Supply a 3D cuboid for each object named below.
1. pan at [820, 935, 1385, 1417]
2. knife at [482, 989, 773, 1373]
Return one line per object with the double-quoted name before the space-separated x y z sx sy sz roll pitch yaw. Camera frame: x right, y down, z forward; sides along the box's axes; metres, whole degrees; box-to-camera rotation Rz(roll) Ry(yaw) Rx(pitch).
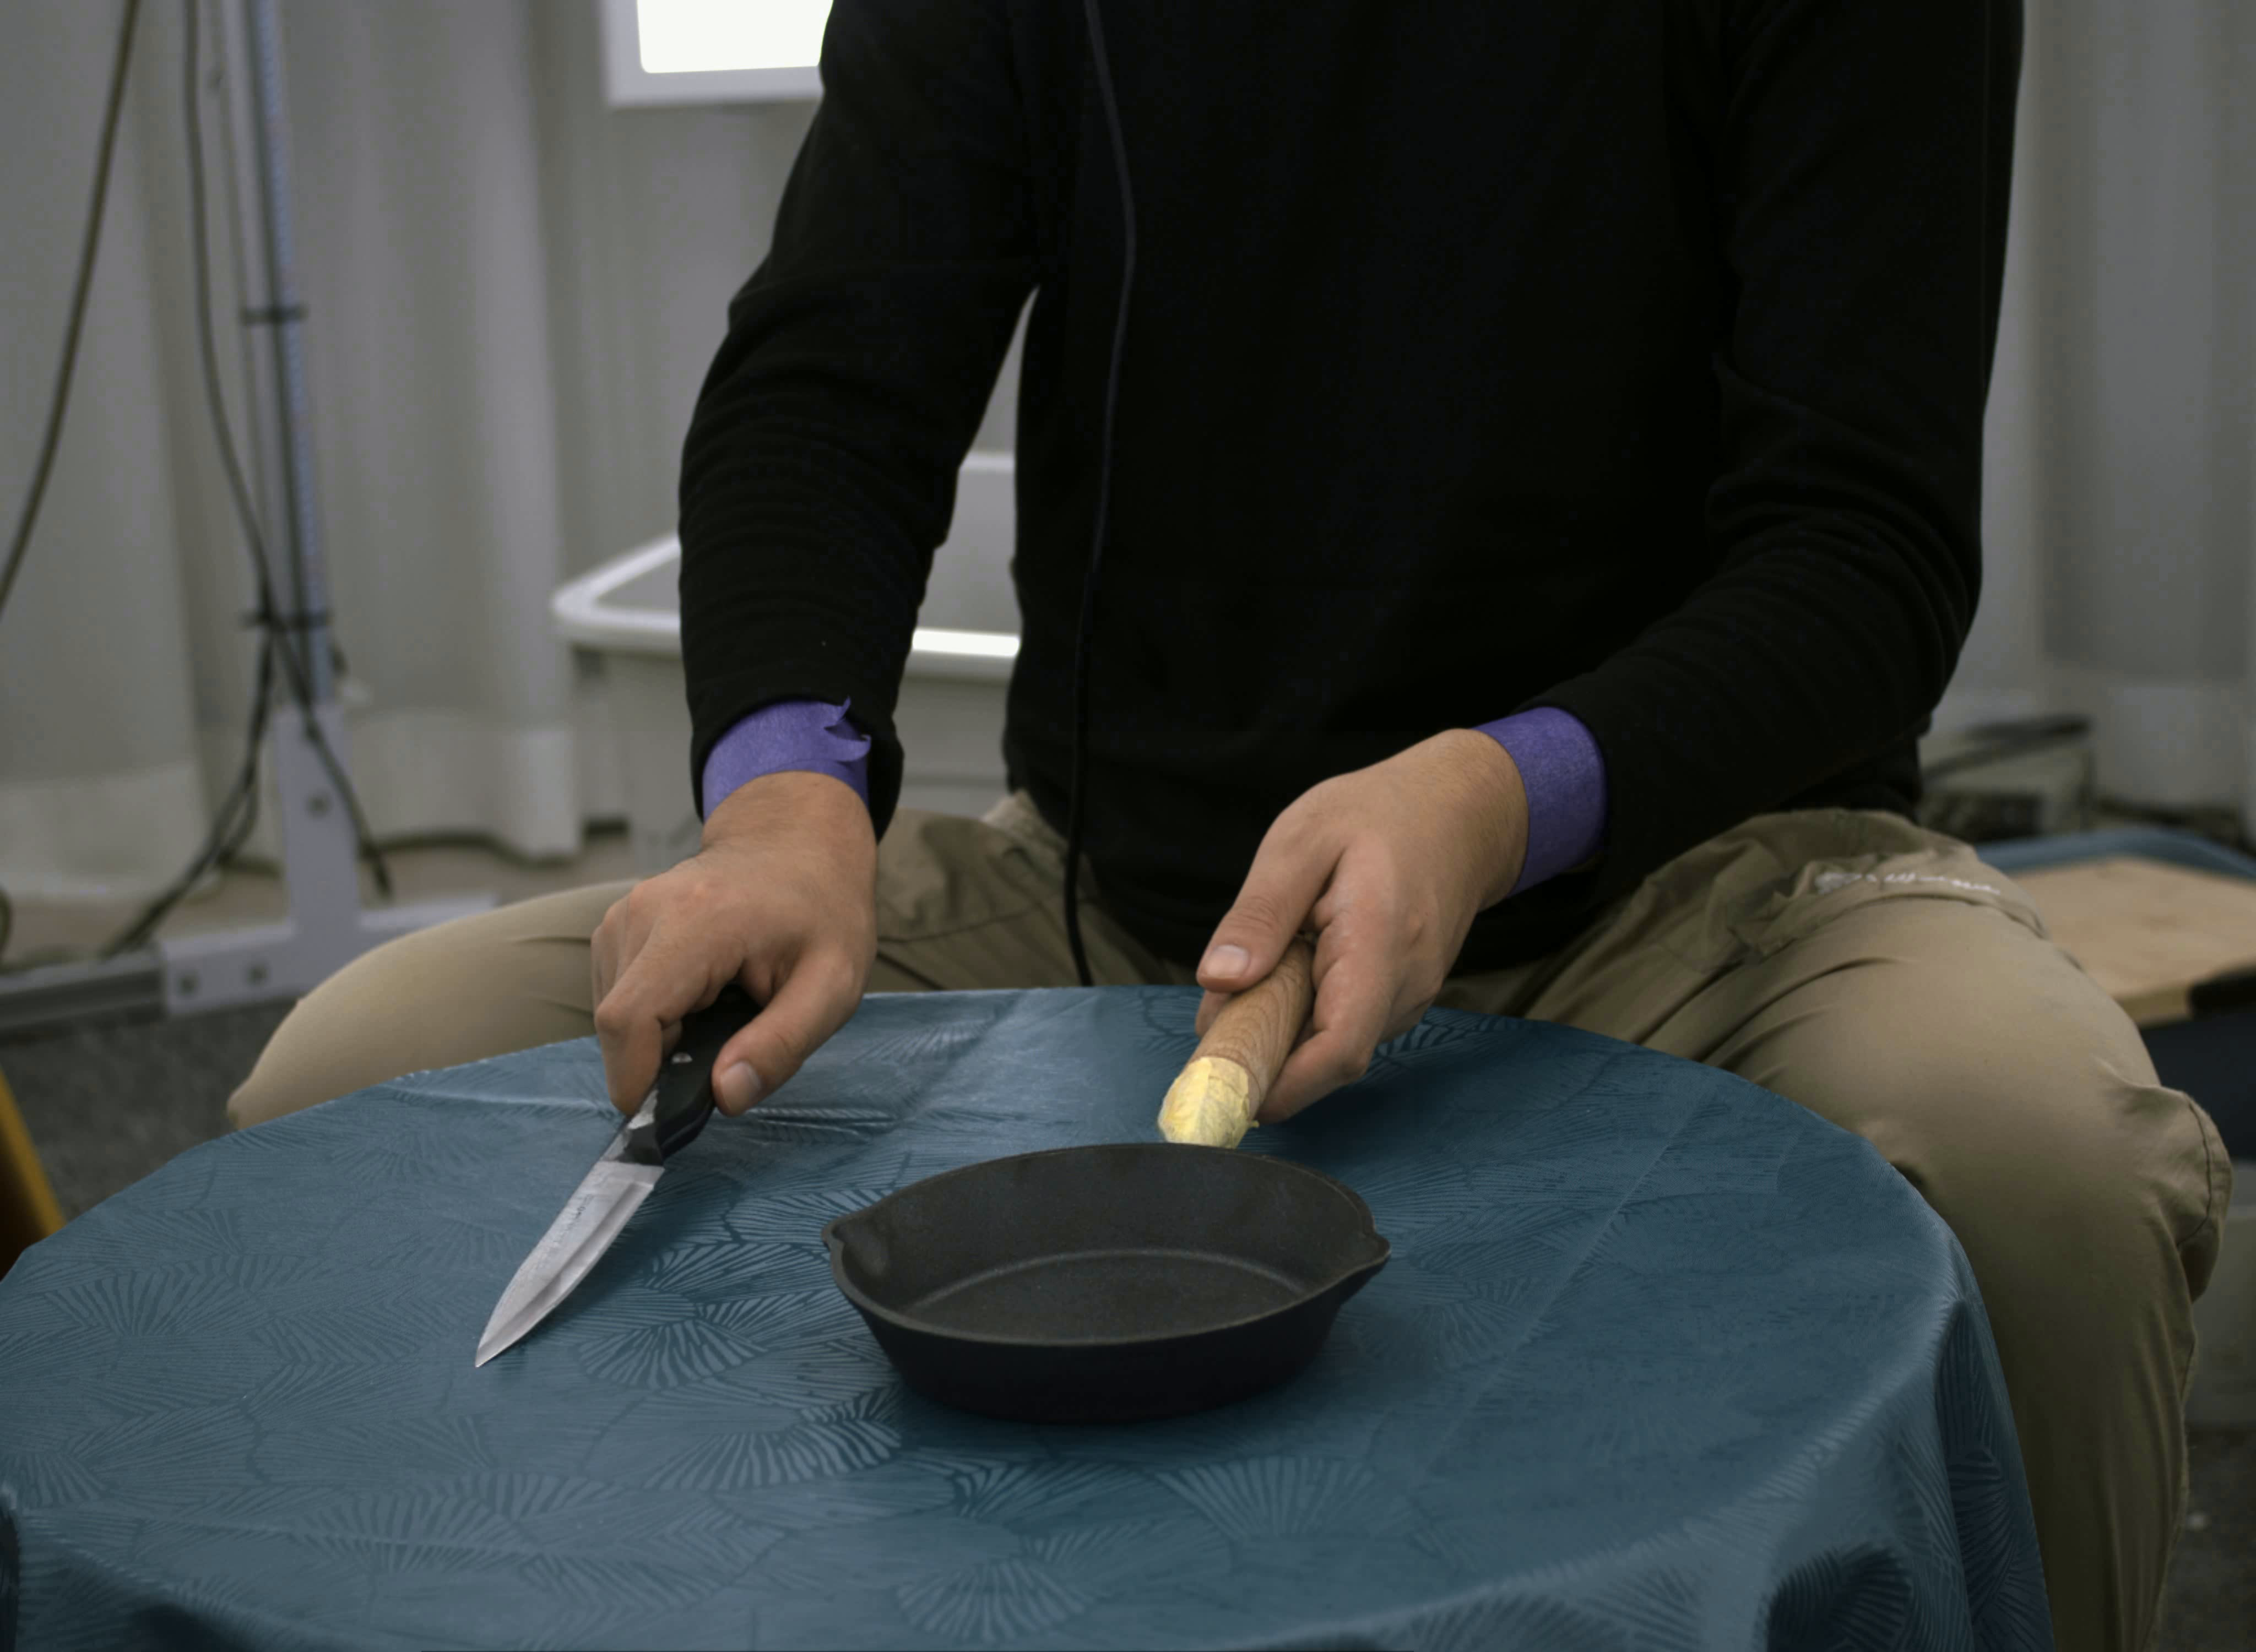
"pan" 0.018 0.102 1.648 0.169 0.049 0.325 2 17 18
"knife" -0.157 0.108 1.693 0.024 0.016 0.240 6 26 14
